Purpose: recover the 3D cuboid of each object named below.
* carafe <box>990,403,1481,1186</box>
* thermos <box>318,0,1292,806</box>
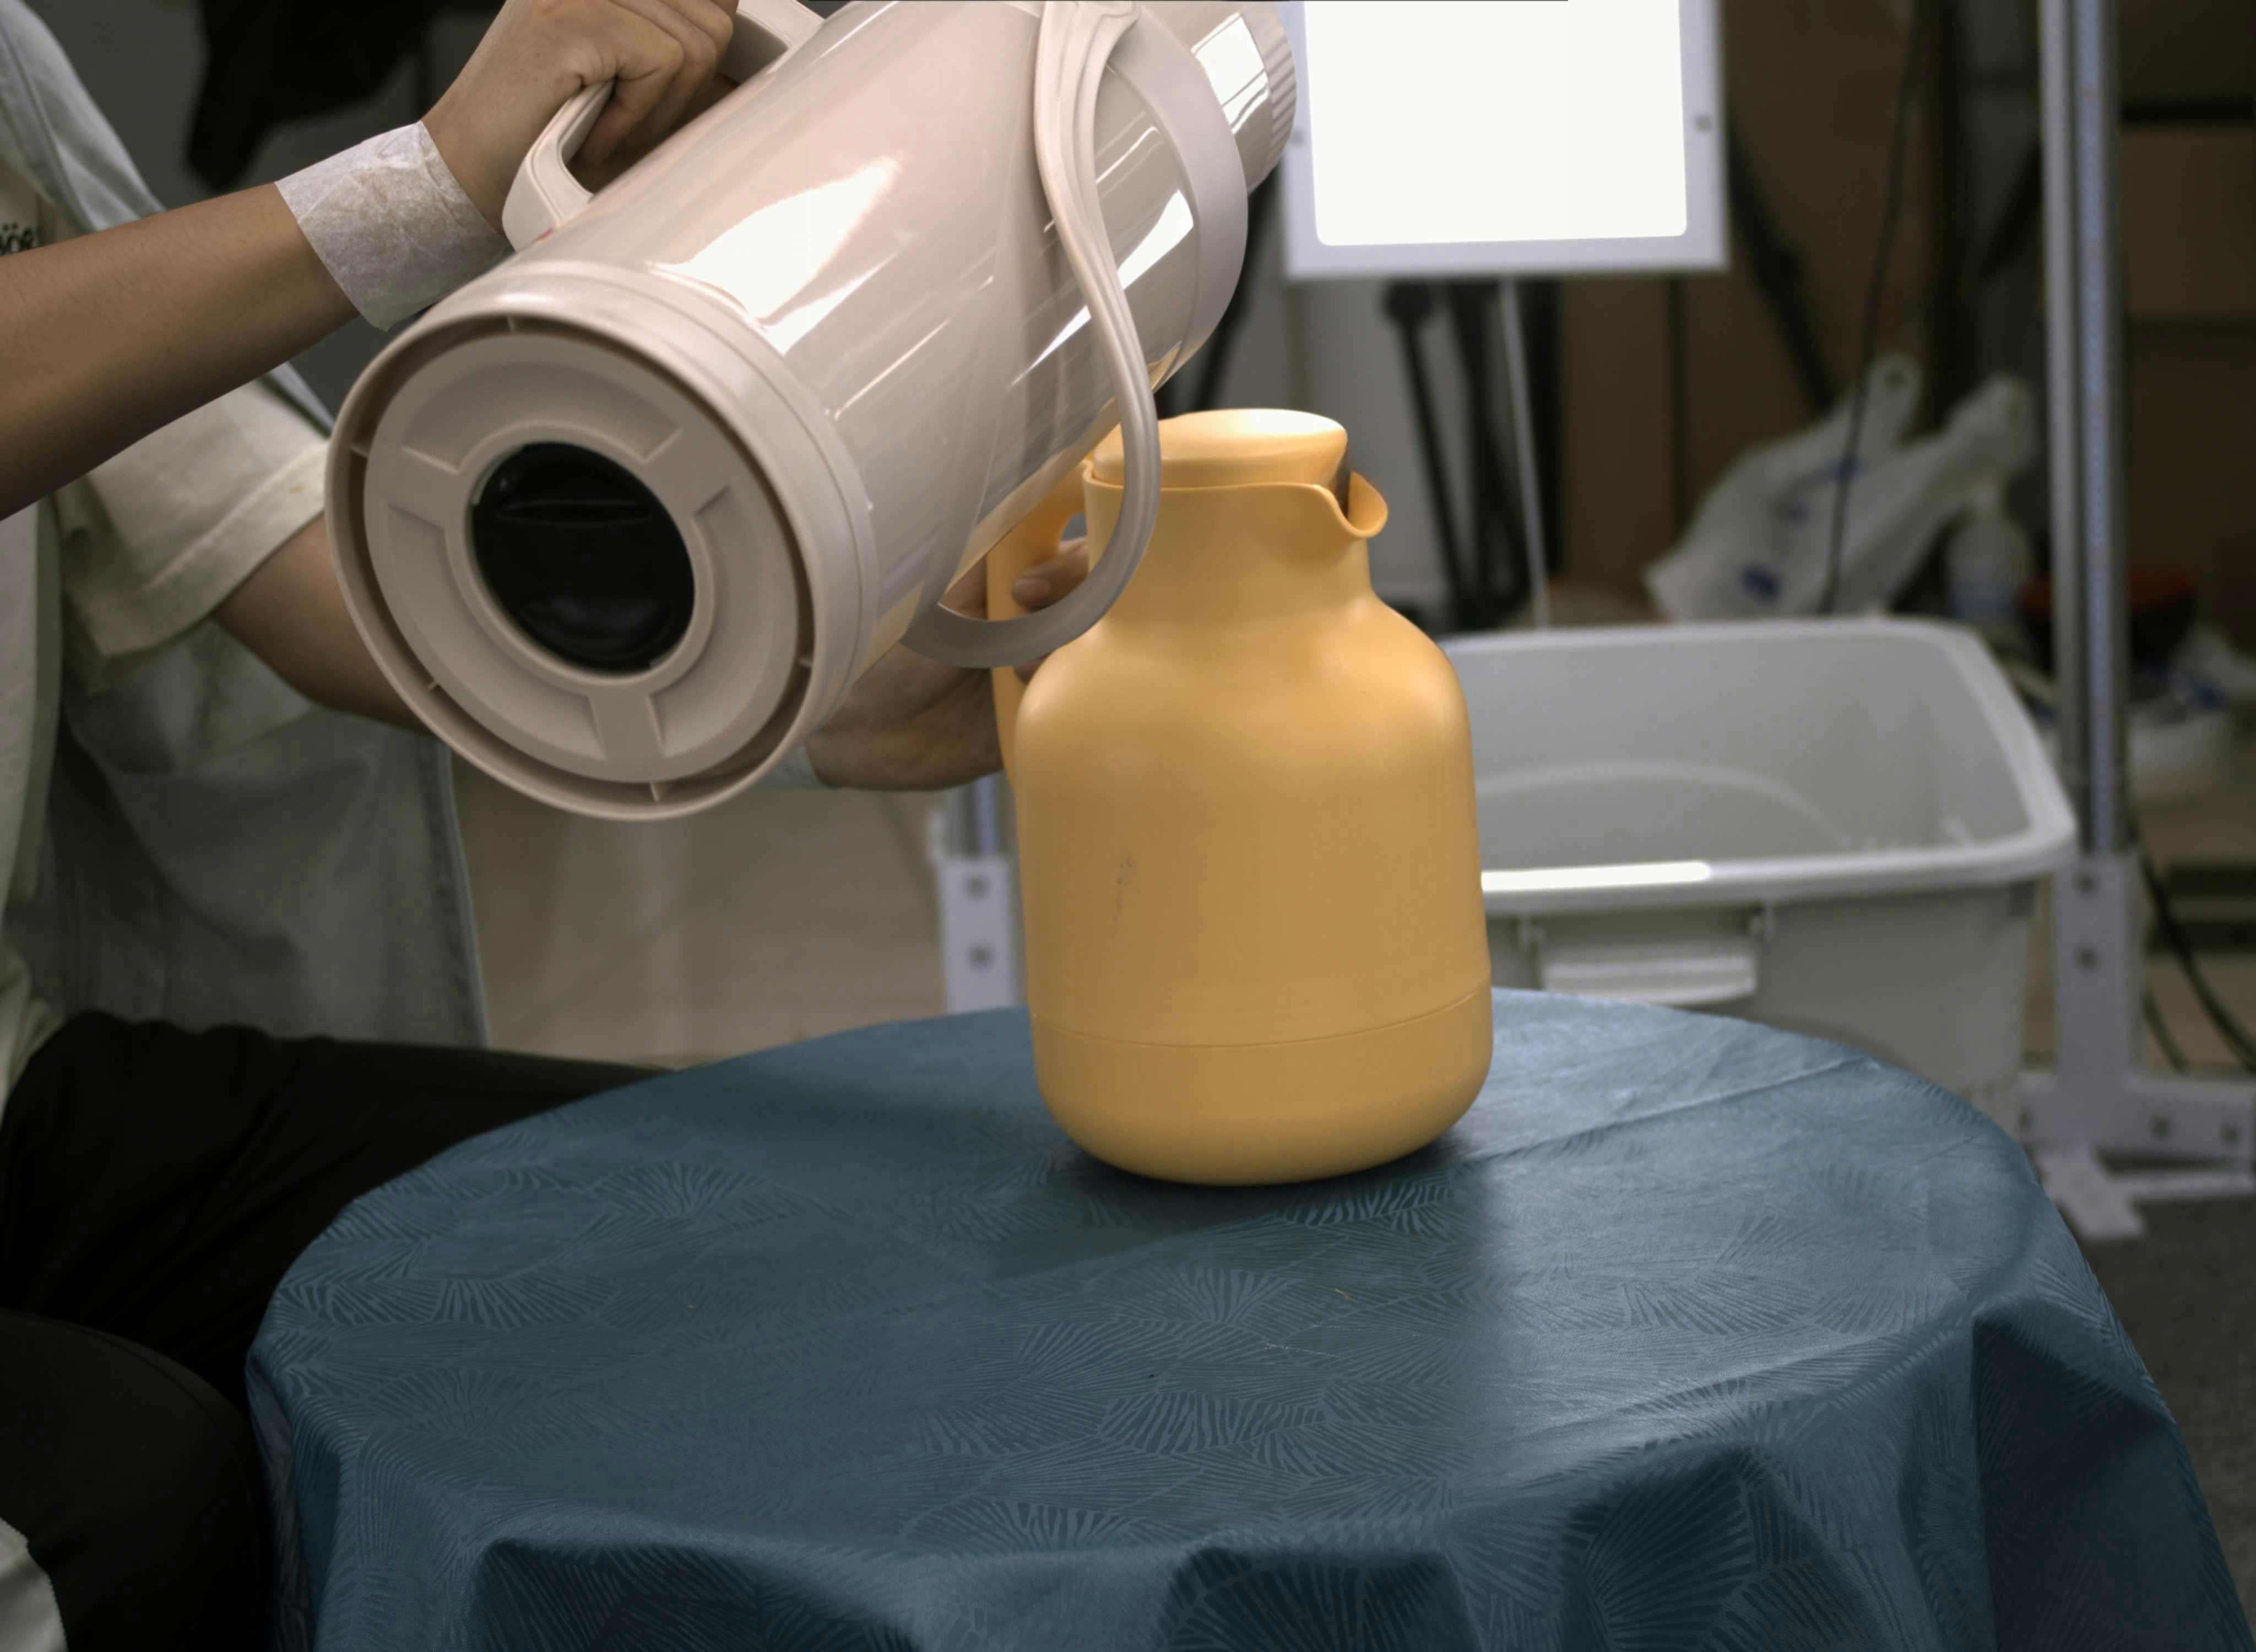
[{"bbox_3d":[0.028,-0.018,1.926,0.159,0.261,0.206,-12,16,-36],"label":"carafe"},{"bbox_3d":[-0.087,-0.171,1.676,0.208,0.178,0.398,34,39,8],"label":"thermos"}]
